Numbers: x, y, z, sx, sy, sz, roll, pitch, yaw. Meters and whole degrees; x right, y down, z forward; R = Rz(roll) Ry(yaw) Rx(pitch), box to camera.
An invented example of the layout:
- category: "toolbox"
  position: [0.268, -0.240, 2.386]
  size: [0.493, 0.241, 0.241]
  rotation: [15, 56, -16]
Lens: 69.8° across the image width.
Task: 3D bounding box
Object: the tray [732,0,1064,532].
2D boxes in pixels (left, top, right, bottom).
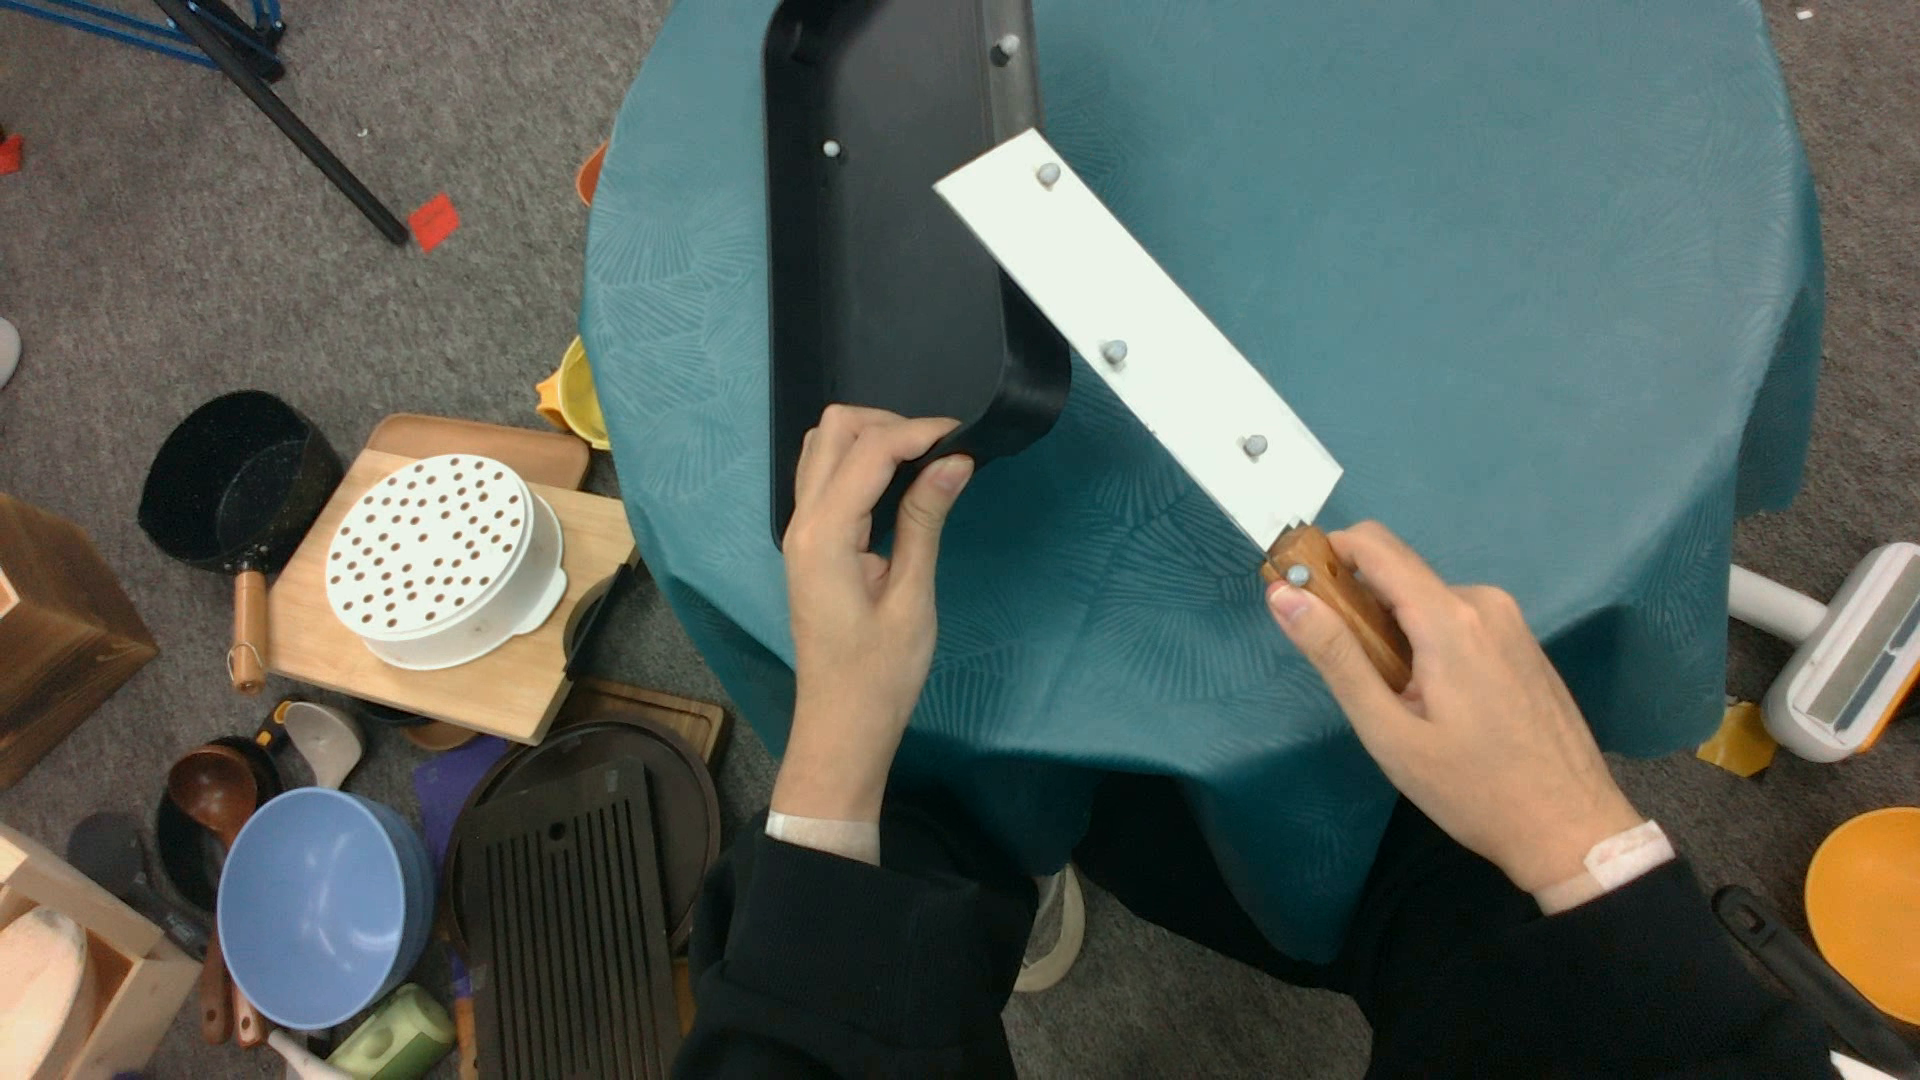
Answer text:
- category: "tray"
  position: [-0.041, -0.175, 0.628]
  size: [0.183, 0.037, 0.319]
  rotation: [-33, 55, 45]

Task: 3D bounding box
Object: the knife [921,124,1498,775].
- category: "knife"
  position: [0.106, -0.042, 0.532]
  size: [0.305, 0.021, 0.093]
  rotation: [47, 40, -4]
